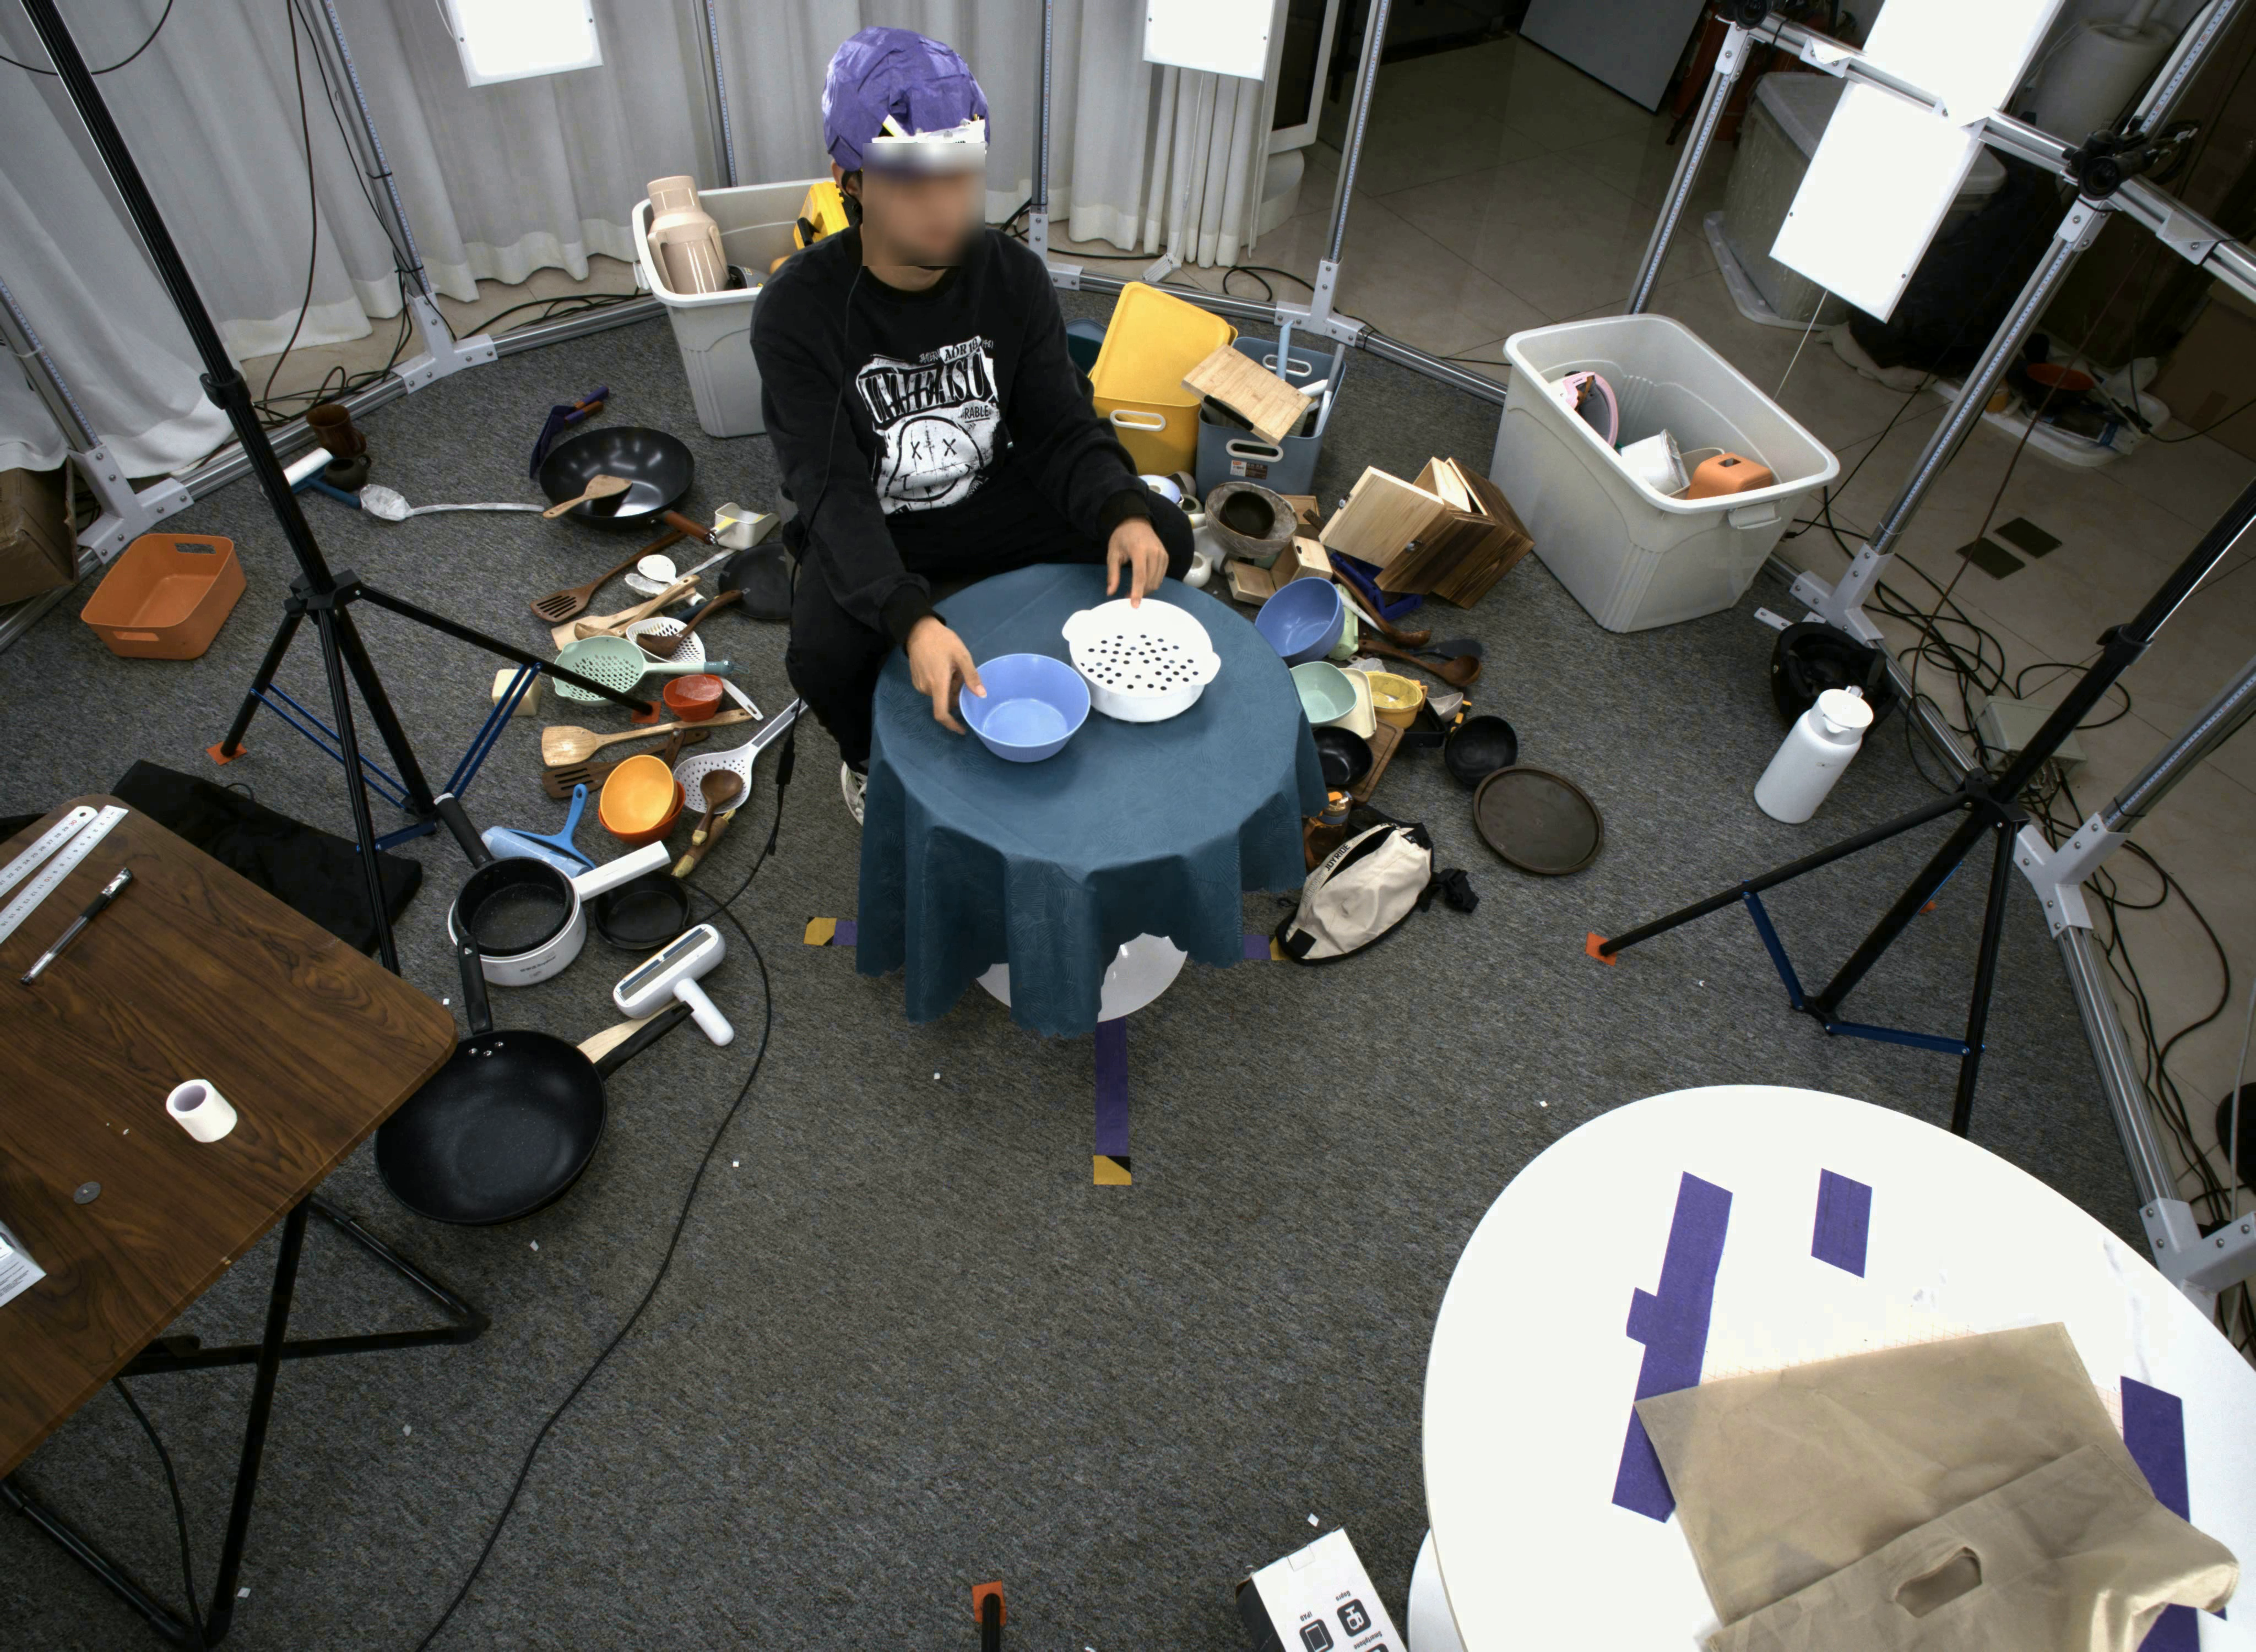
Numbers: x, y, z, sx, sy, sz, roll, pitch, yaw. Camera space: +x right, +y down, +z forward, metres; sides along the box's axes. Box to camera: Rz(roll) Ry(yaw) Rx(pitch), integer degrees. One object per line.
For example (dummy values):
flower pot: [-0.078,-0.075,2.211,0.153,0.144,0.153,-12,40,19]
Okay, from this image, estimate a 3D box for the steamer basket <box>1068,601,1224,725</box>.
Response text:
steamer basket: [0.023,-0.234,1.845,0.232,0.067,0.205,21,51,11]

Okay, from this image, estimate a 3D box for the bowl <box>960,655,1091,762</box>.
bowl: [-0.140,-0.152,1.760,0.176,0.068,0.180,2,50,-3]
